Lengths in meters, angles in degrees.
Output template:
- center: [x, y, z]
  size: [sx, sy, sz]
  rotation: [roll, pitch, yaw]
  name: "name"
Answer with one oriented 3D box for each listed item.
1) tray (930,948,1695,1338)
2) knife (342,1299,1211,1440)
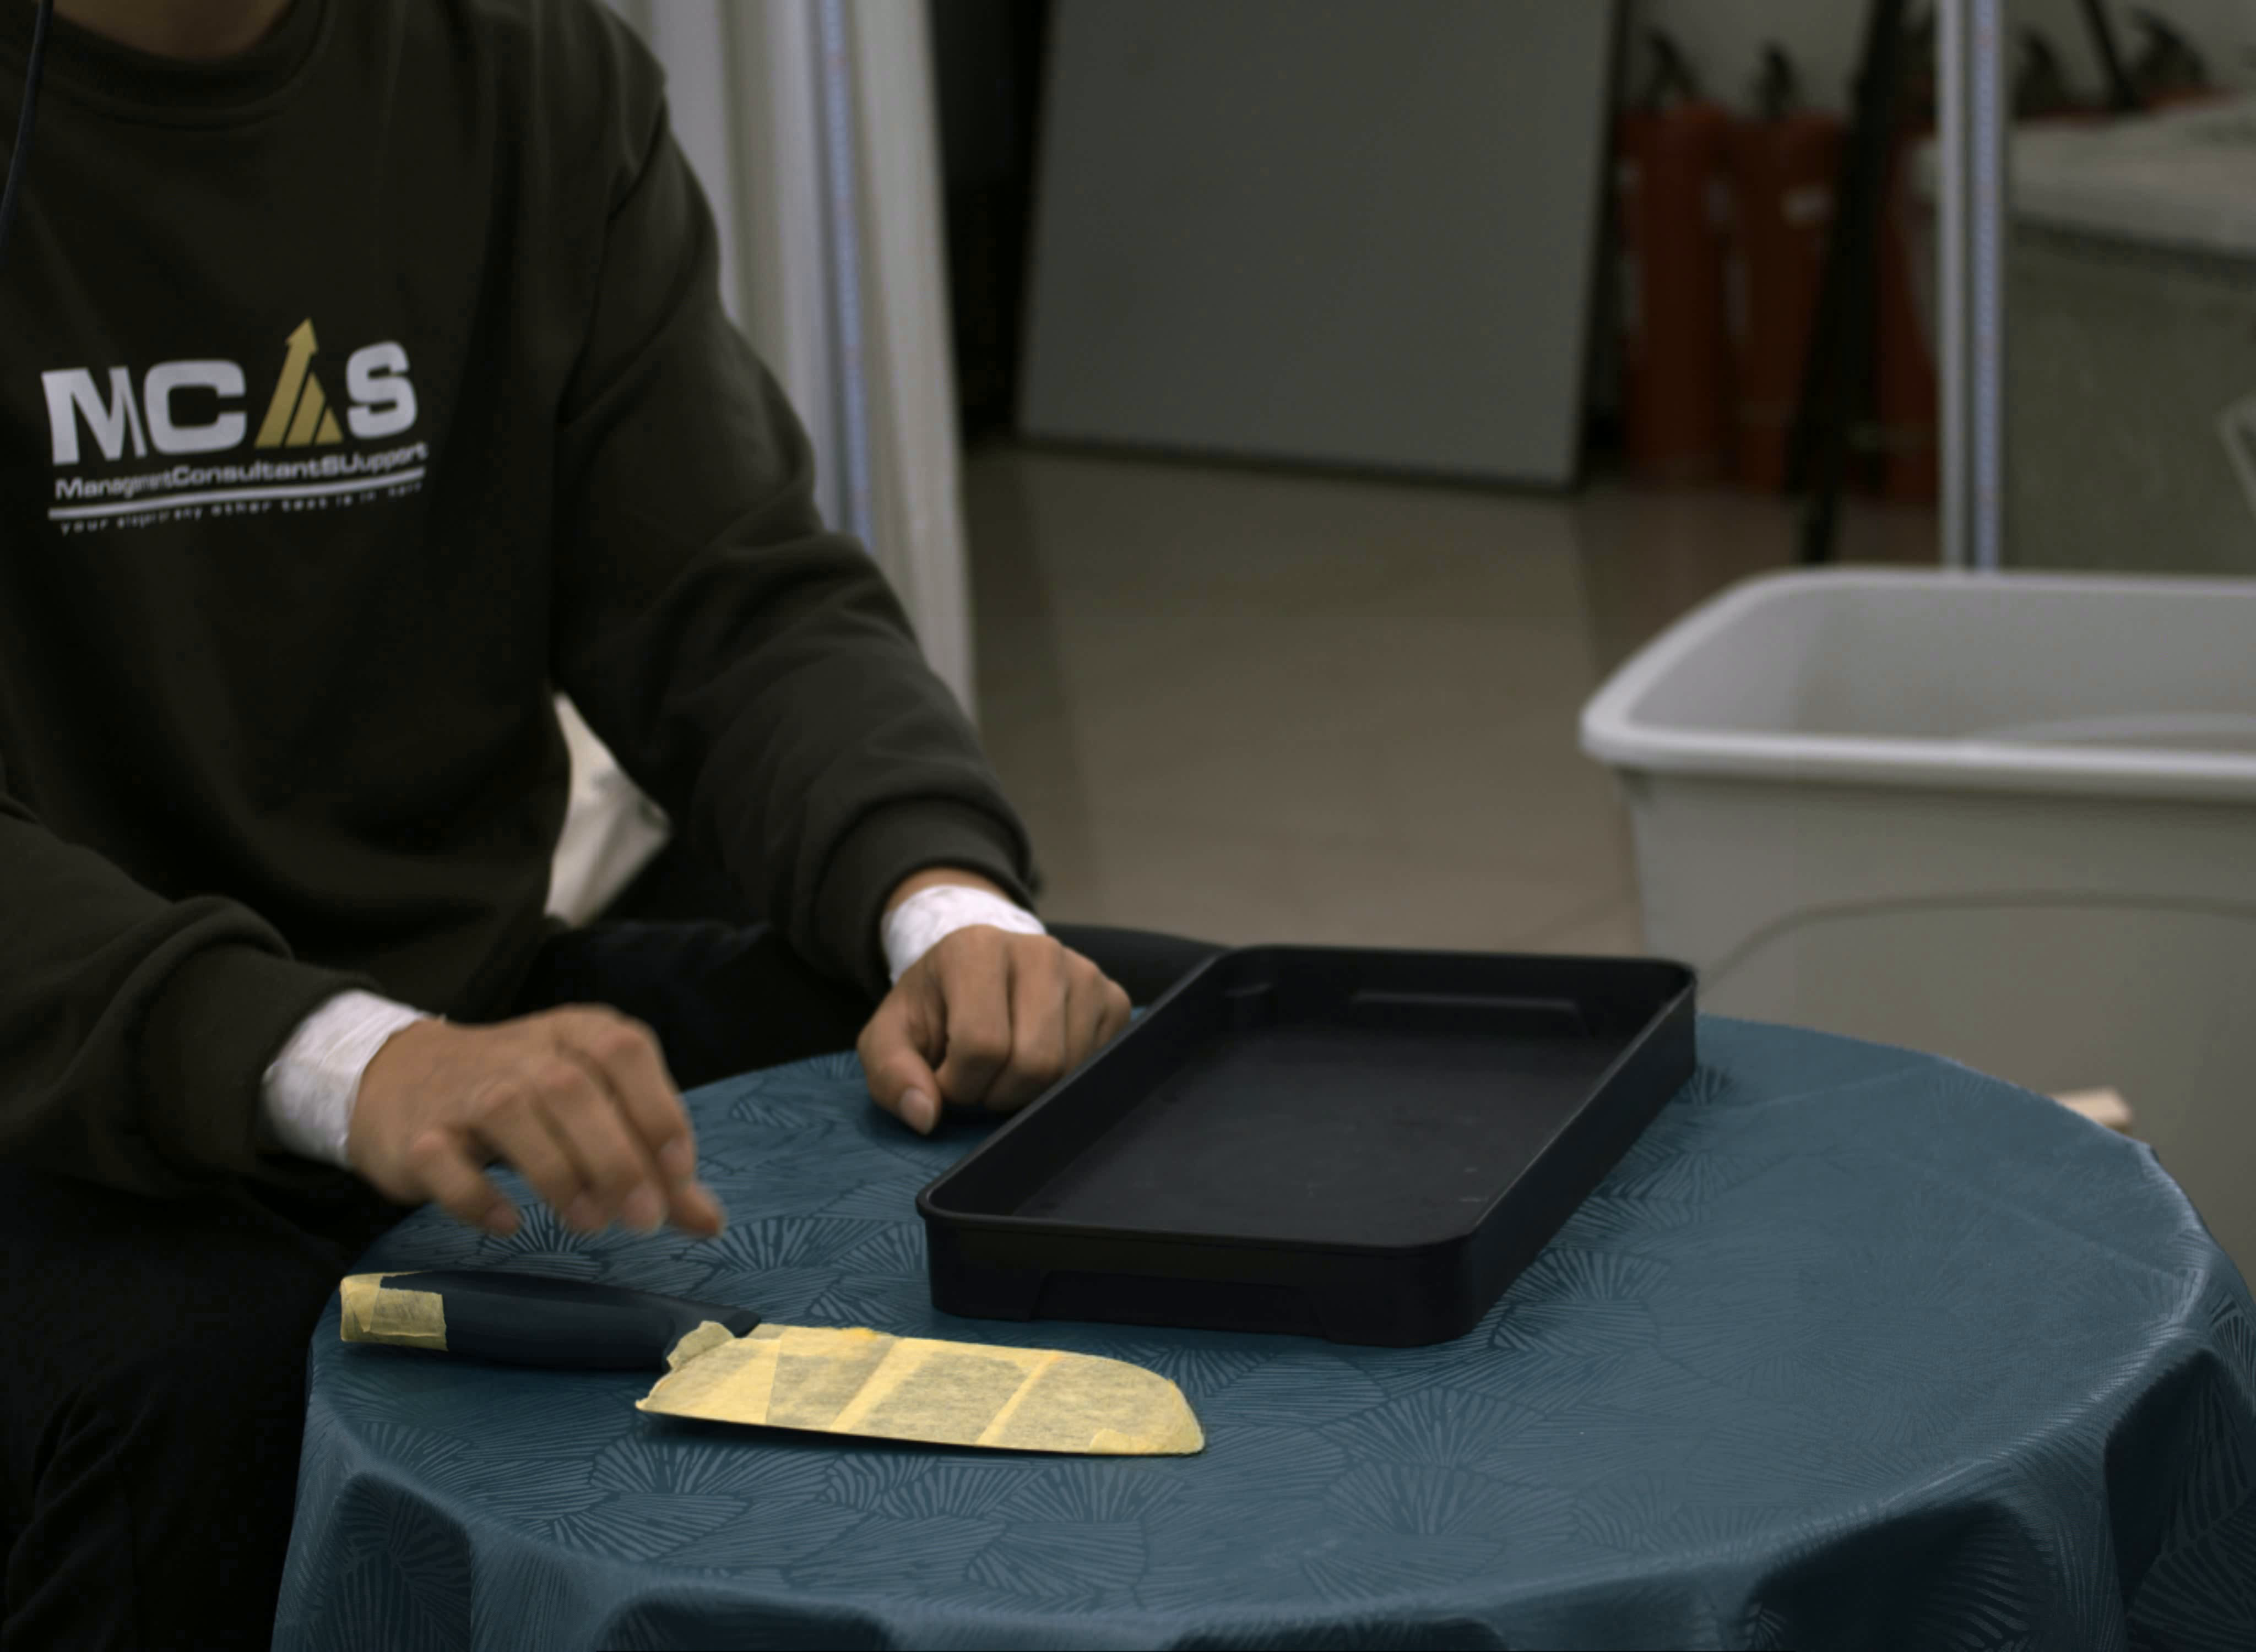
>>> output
- center: [0.069, 0.099, 1.773]
  size: [0.184, 0.037, 0.315]
  rotation: [0, 14, 20]
  name: "tray"
- center: [-0.110, 0.164, 1.600]
  size: [0.289, 0.027, 0.080]
  rotation: [2, 14, 22]
  name: "knife"
